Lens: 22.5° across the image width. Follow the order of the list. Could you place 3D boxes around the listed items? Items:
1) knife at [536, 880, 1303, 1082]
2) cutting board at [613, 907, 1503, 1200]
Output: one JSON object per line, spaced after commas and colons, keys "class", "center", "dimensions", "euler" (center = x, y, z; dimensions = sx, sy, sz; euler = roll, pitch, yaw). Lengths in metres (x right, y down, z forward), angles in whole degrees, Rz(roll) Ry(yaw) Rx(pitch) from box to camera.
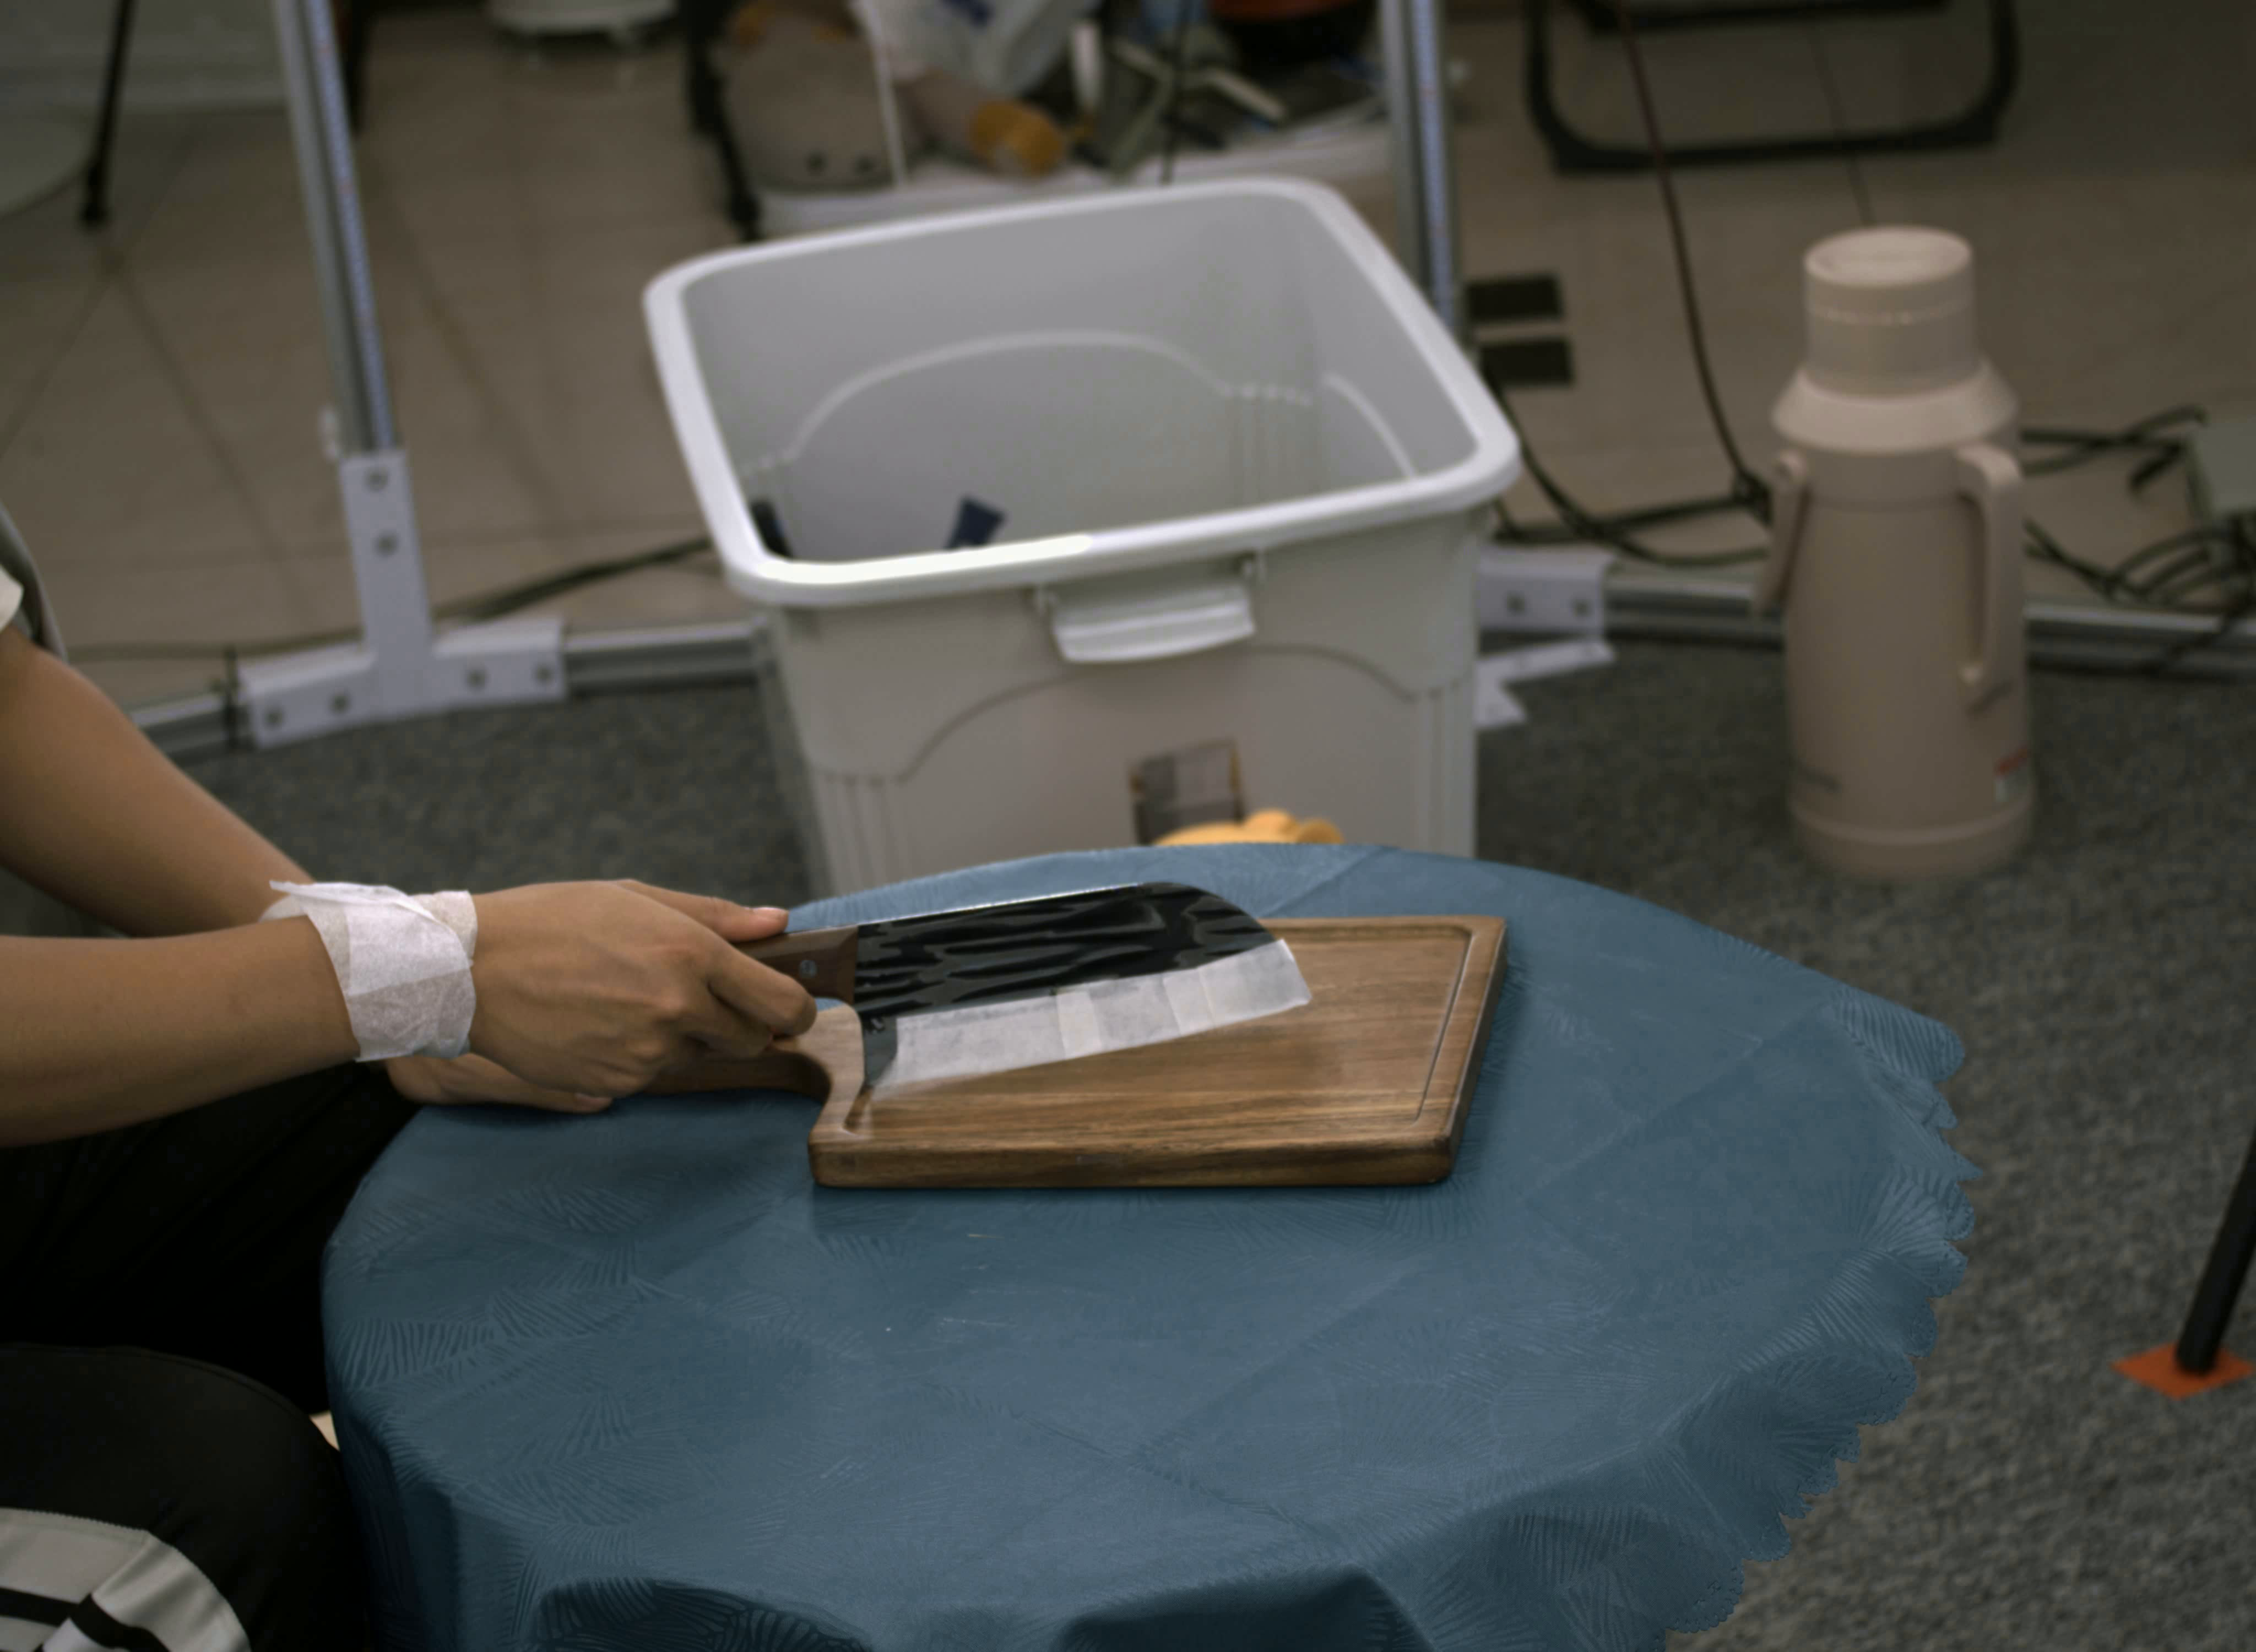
{"class": "knife", "center": [-0.079, 0.064, 2.205], "dimensions": [0.299, 0.069, 0.024], "euler": [-7, 17, -9]}
{"class": "cutting board", "center": [-0.033, 0.090, 2.246], "dimensions": [0.351, 0.023, 0.198], "euler": [-2, 27, 12]}
